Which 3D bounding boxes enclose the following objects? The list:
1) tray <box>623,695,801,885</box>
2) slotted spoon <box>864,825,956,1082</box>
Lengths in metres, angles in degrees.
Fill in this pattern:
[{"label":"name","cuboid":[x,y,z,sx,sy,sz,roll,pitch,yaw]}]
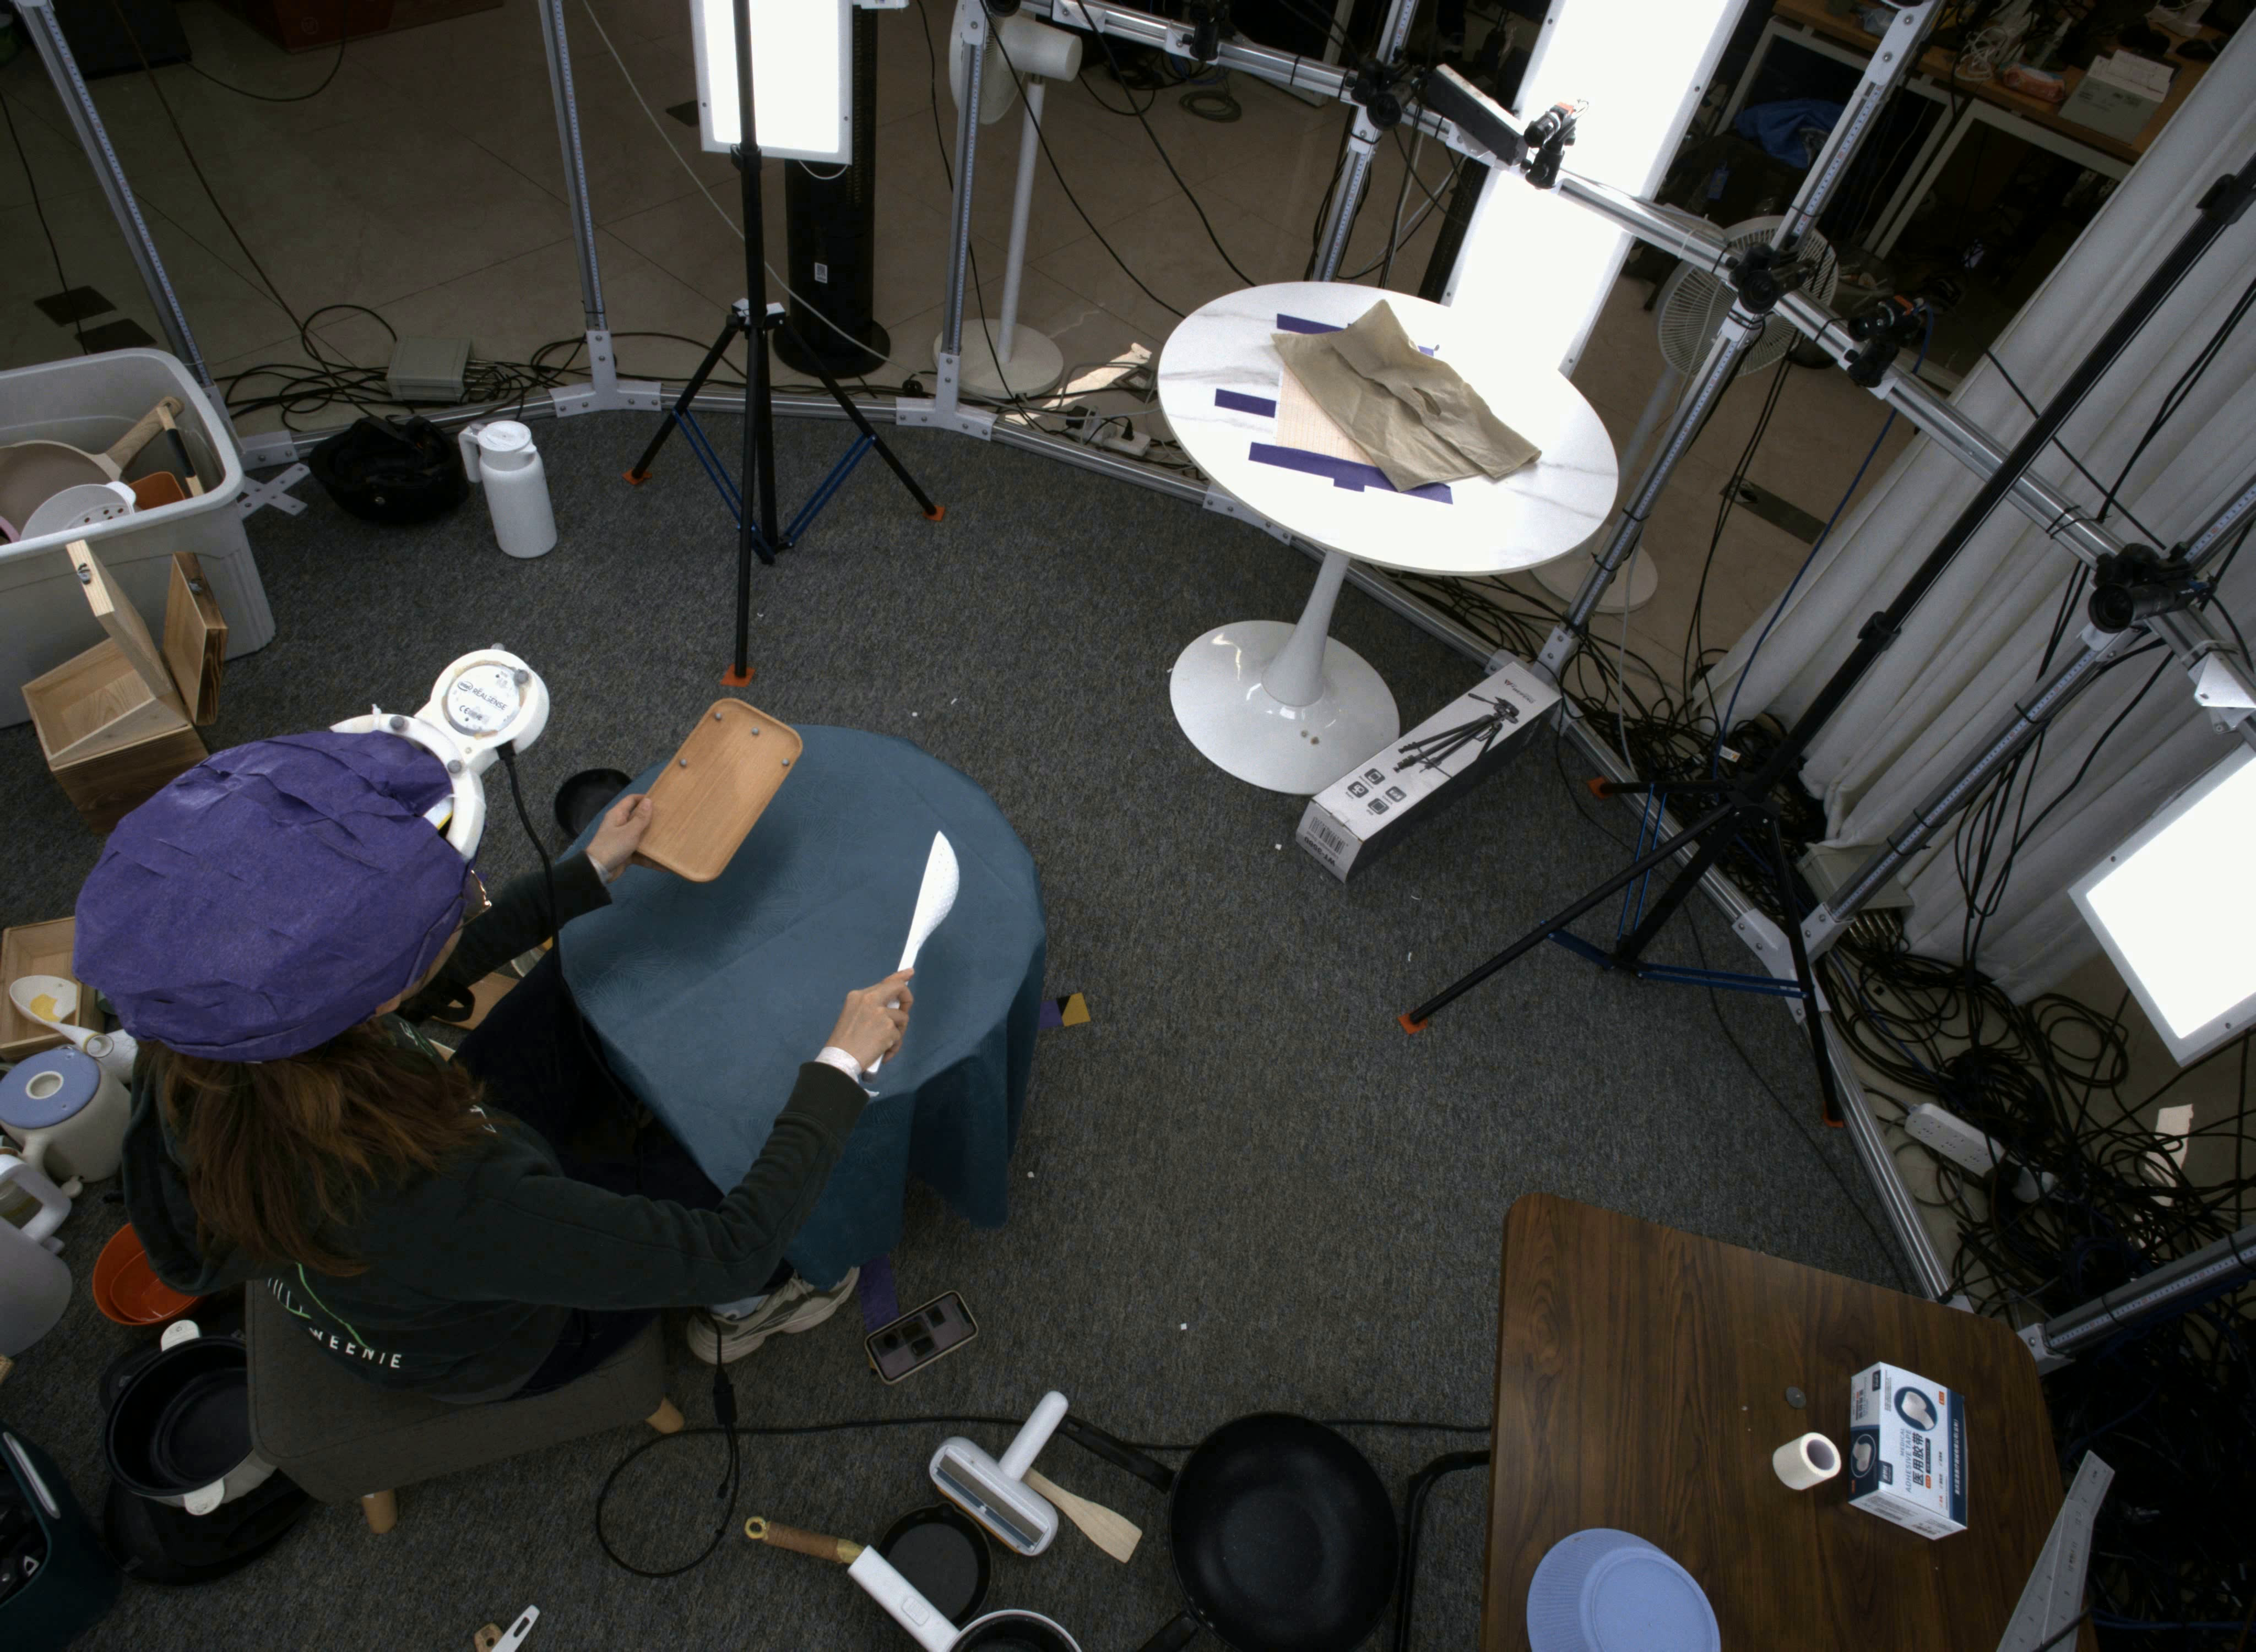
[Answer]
[{"label":"tray","cuboid":[-0.507,-0.048,1.578,0.131,0.023,0.249,29,57,-7]},{"label":"slotted spoon","cuboid":[-0.252,0.142,1.492,0.045,0.139,0.345,16,44,0]}]
